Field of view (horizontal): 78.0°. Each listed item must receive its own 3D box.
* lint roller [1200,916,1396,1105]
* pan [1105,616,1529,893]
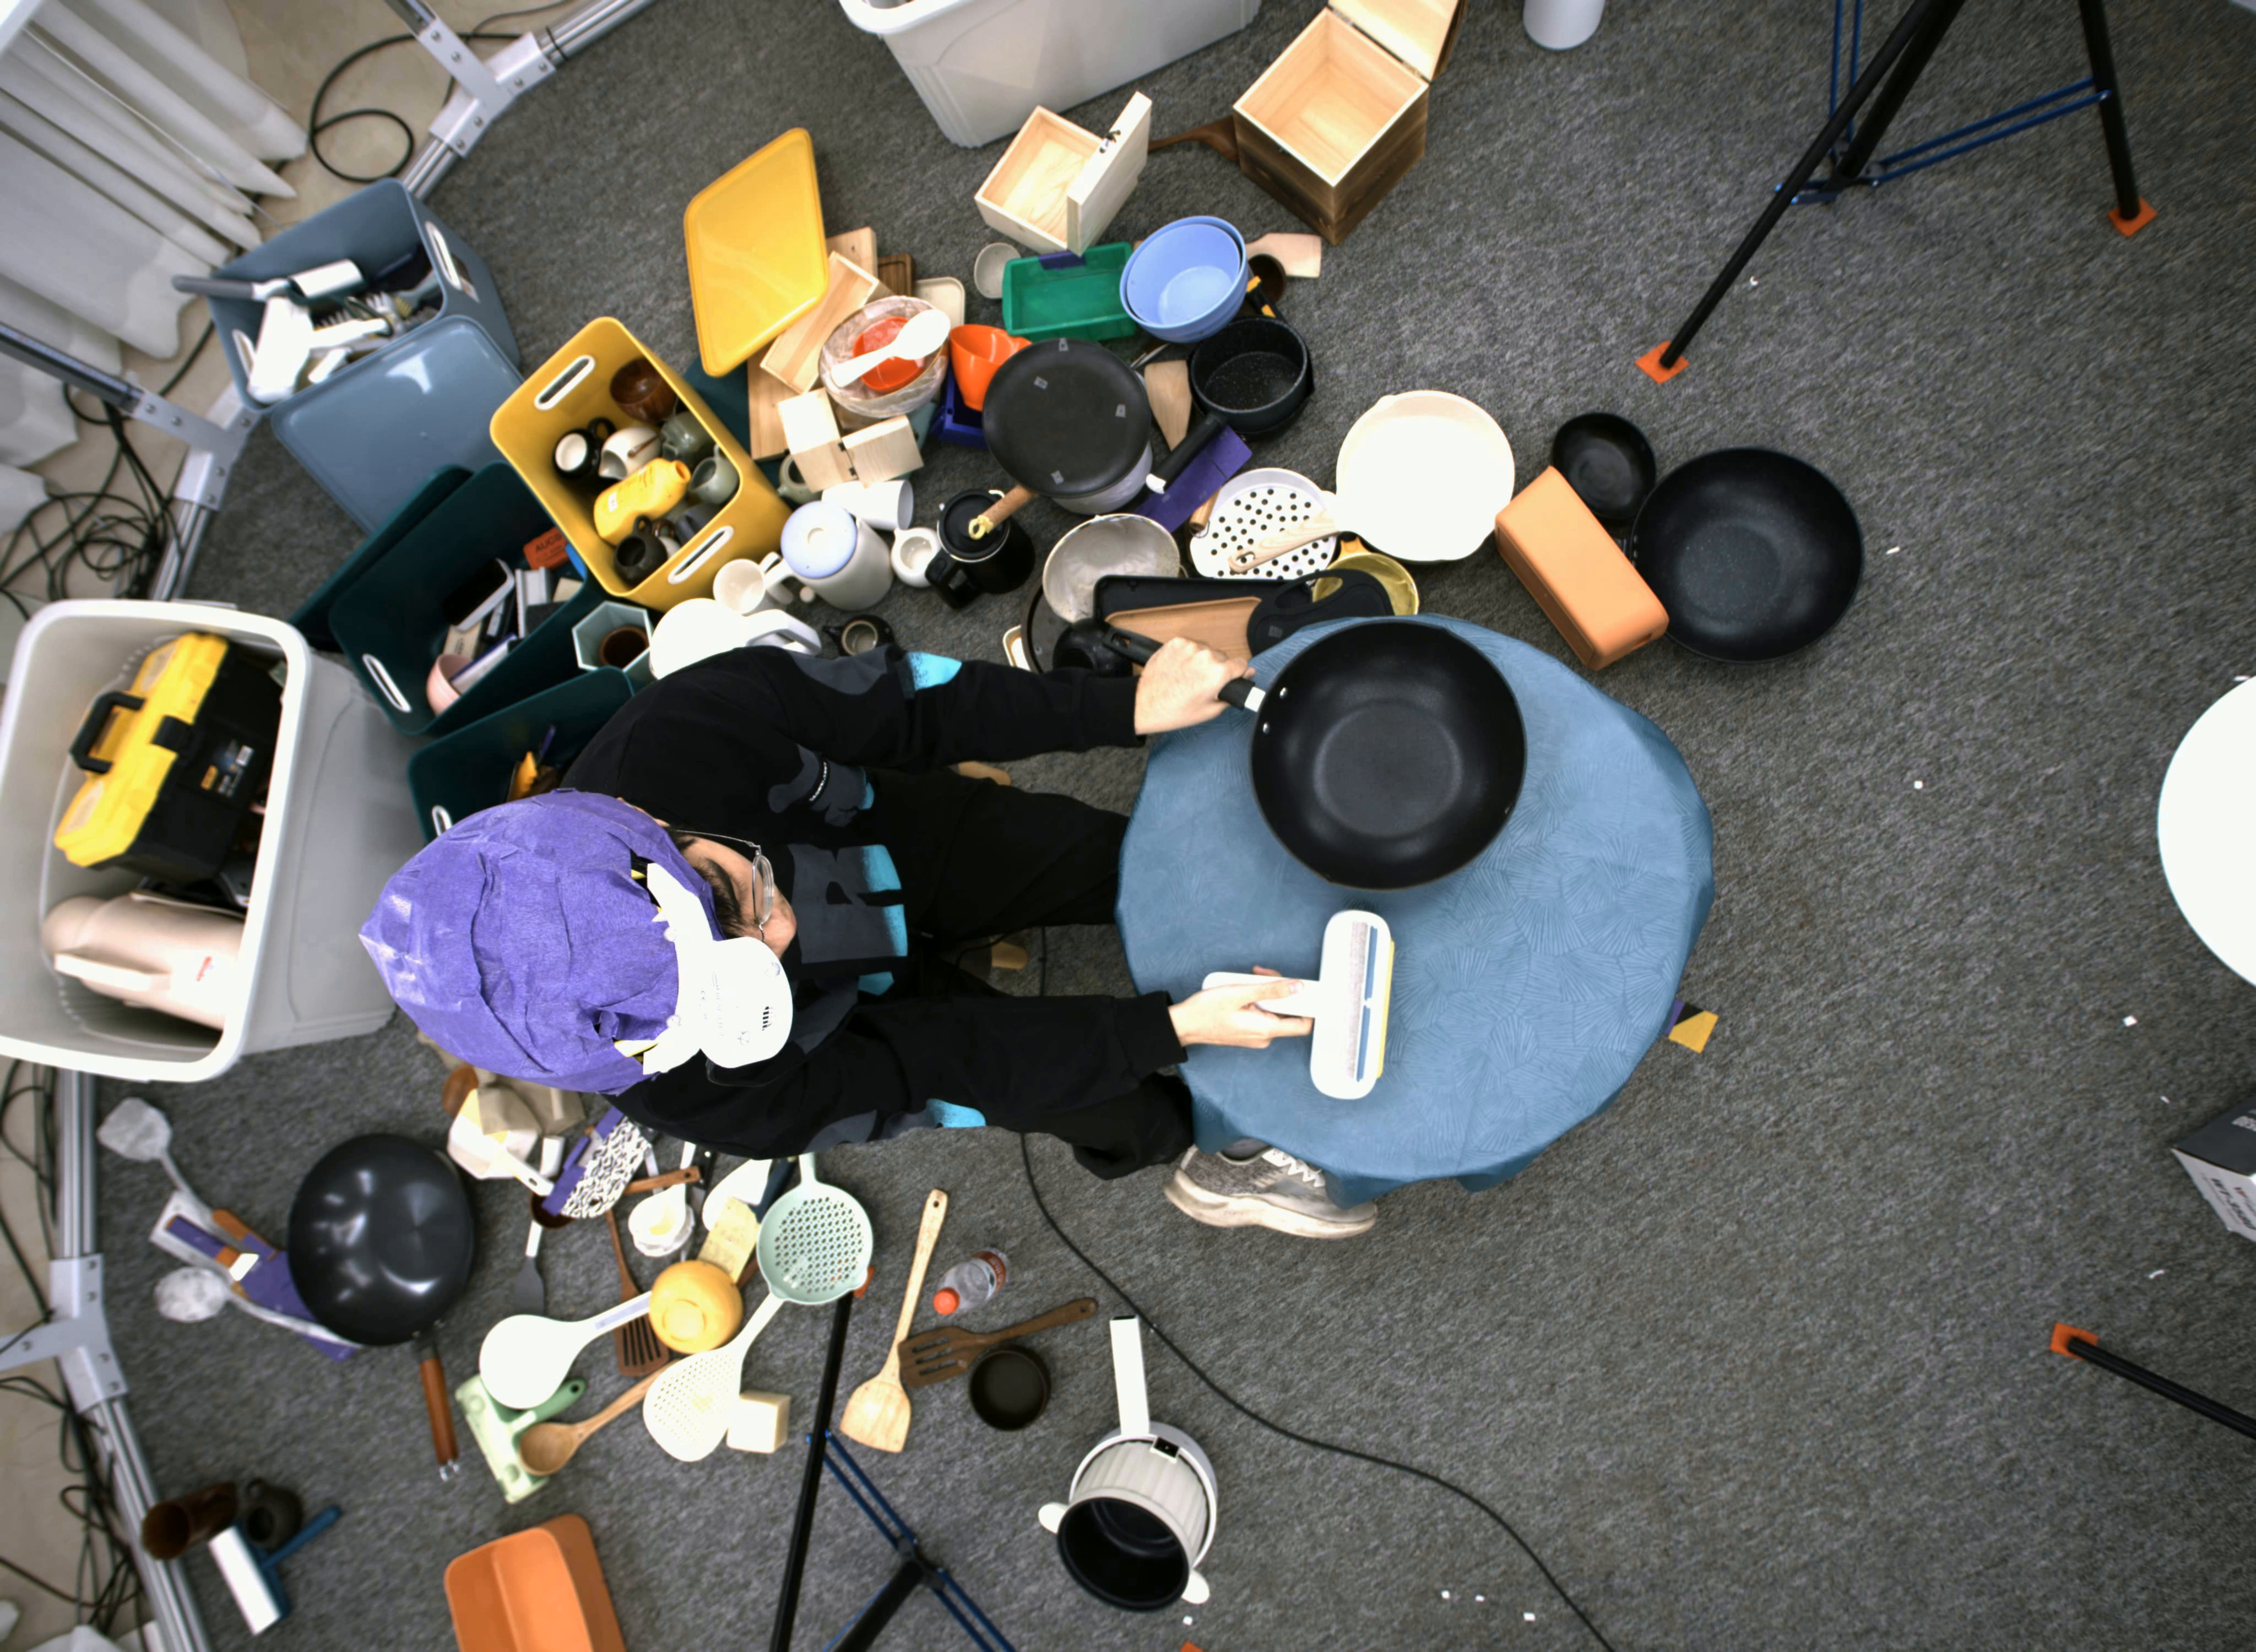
[{"bbox_3d":[0.169,0.178,1.426,0.193,0.074,0.191,10,84,4],"label":"lint roller"},{"bbox_3d":[0.185,-0.105,1.438,0.462,0.087,0.287,25,88,15],"label":"pan"}]
